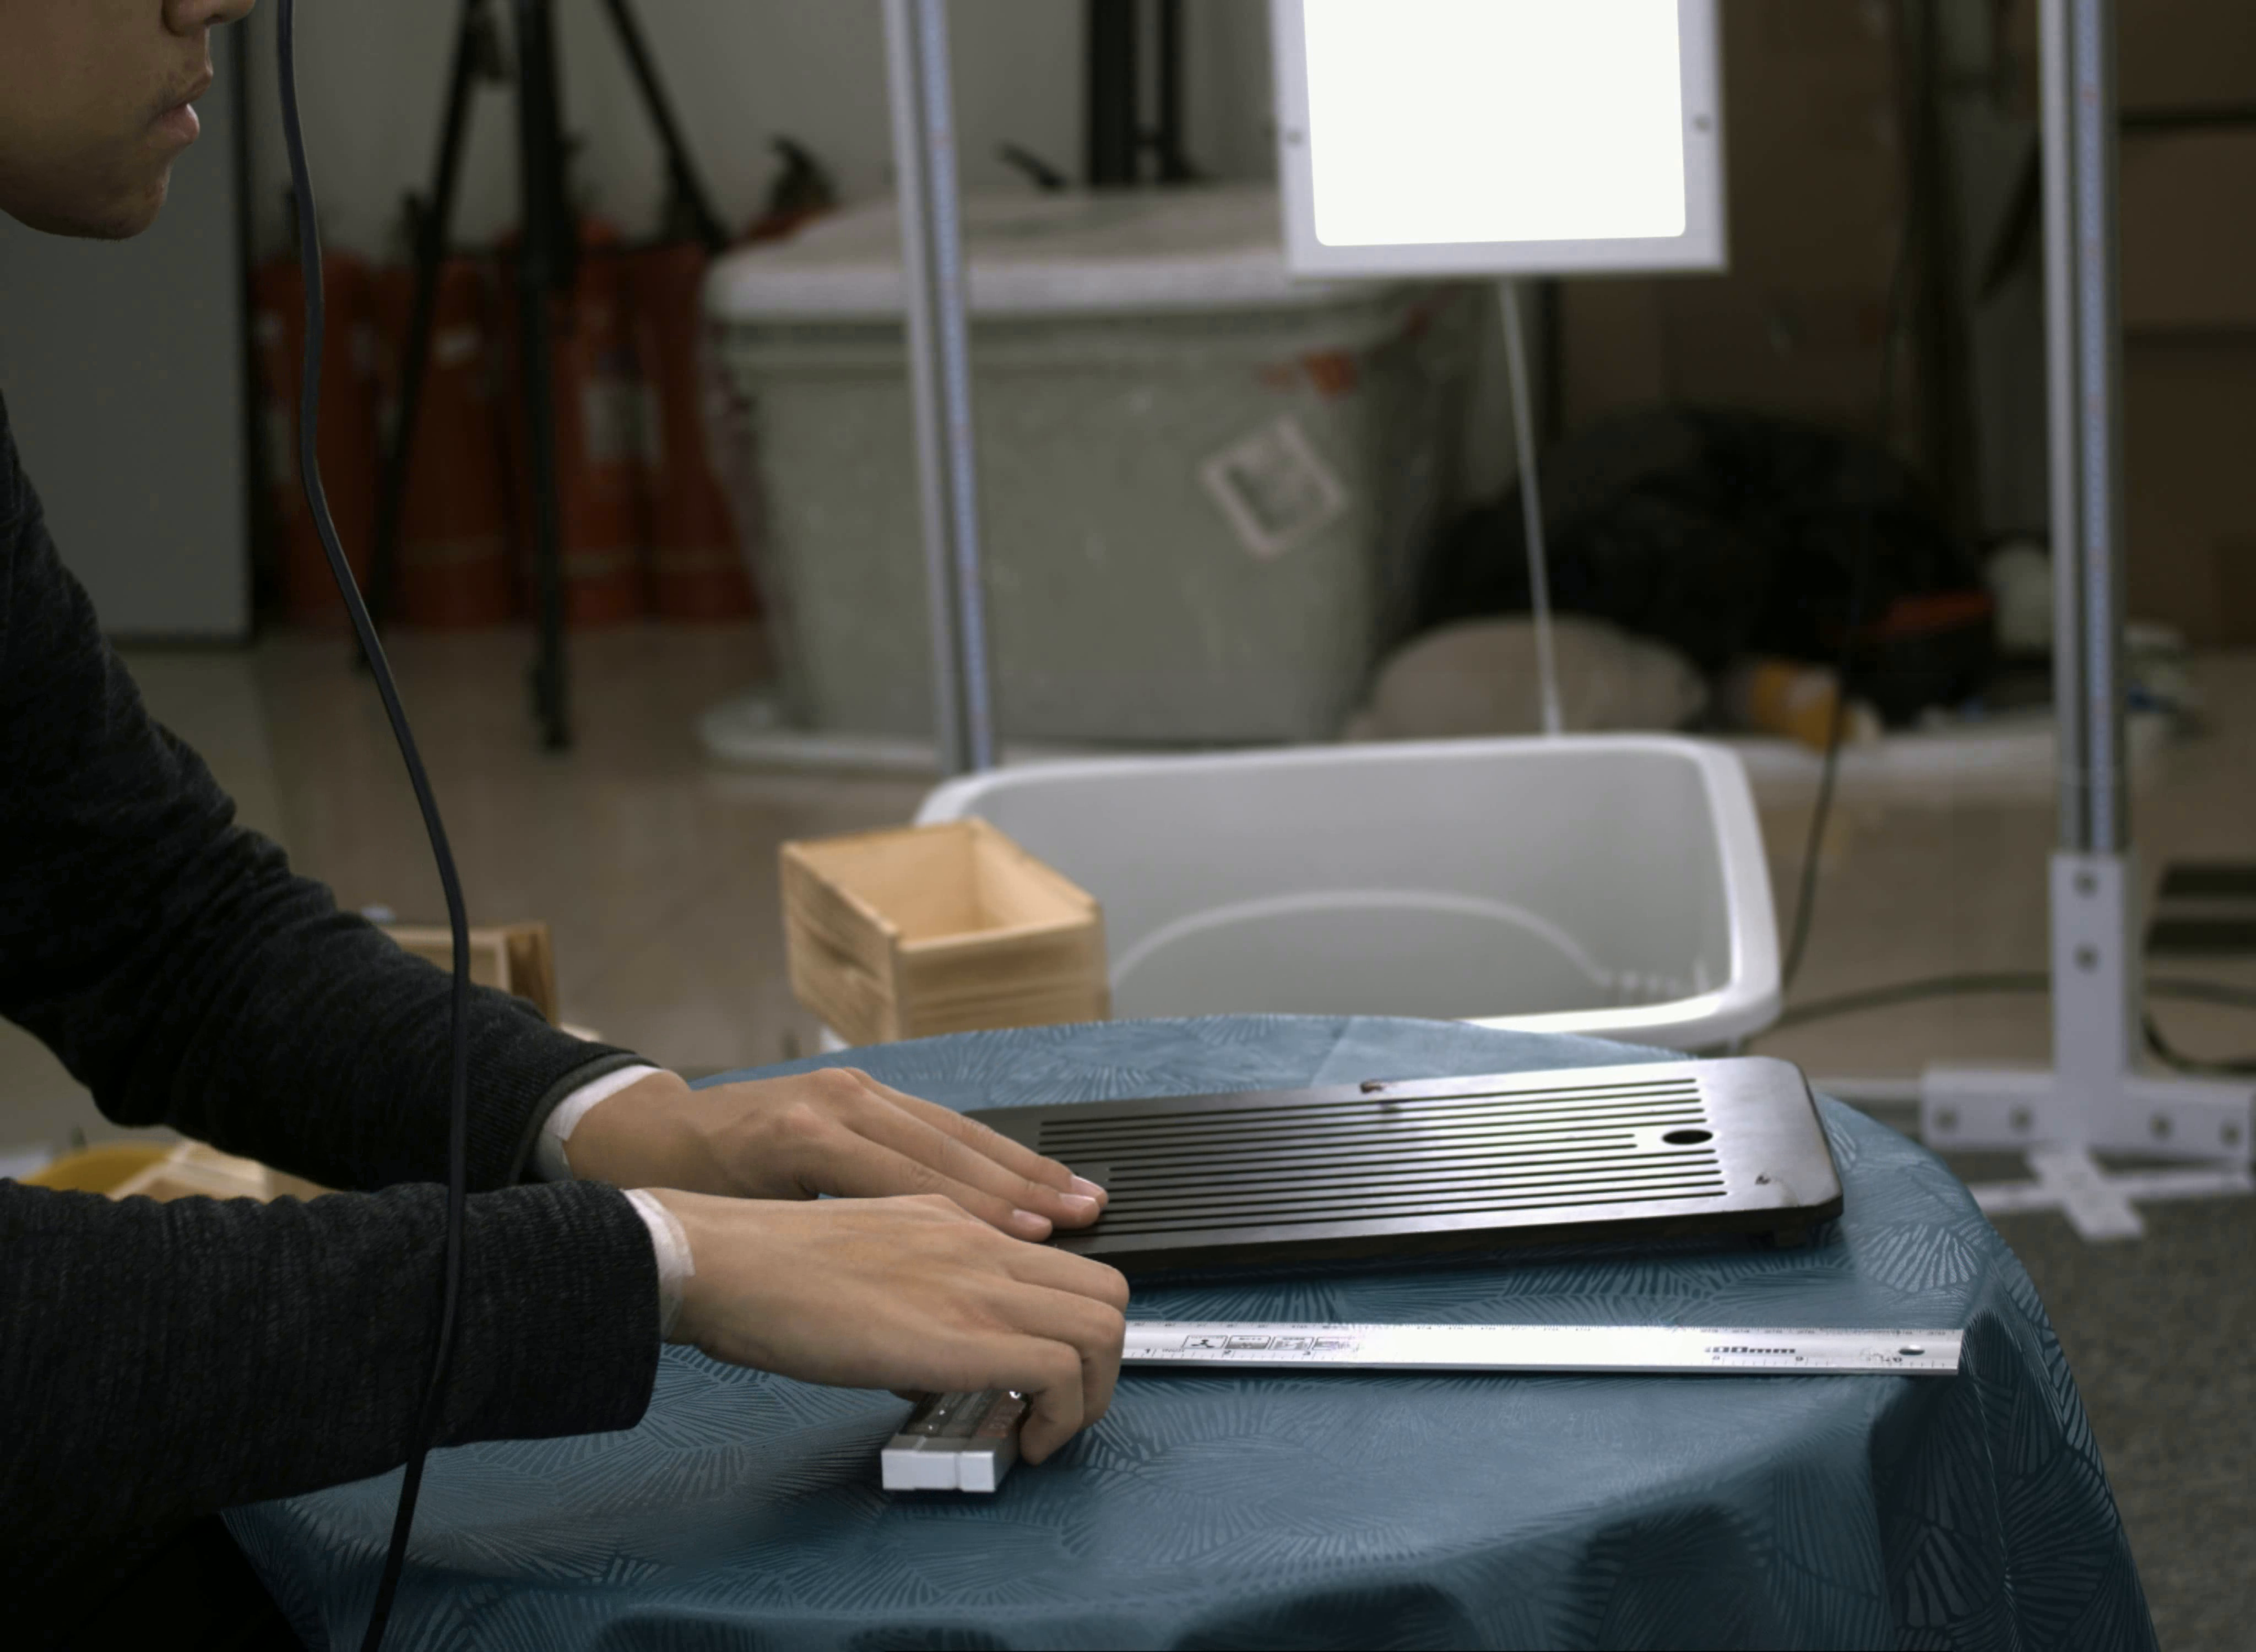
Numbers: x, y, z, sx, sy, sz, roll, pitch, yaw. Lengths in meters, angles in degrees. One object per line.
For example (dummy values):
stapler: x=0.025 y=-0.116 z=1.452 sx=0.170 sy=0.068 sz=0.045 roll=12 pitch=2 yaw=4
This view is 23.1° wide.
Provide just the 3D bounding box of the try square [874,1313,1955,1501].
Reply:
try square: x=0.090 y=0.173 z=1.655 sx=0.315 sy=0.016 sz=0.150 roll=-1 pitch=13 yaw=14

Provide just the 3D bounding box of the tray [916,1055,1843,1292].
tray: x=0.084 y=0.118 z=1.864 sx=0.306 sy=0.019 sz=0.169 roll=-4 pitch=14 yaw=5
